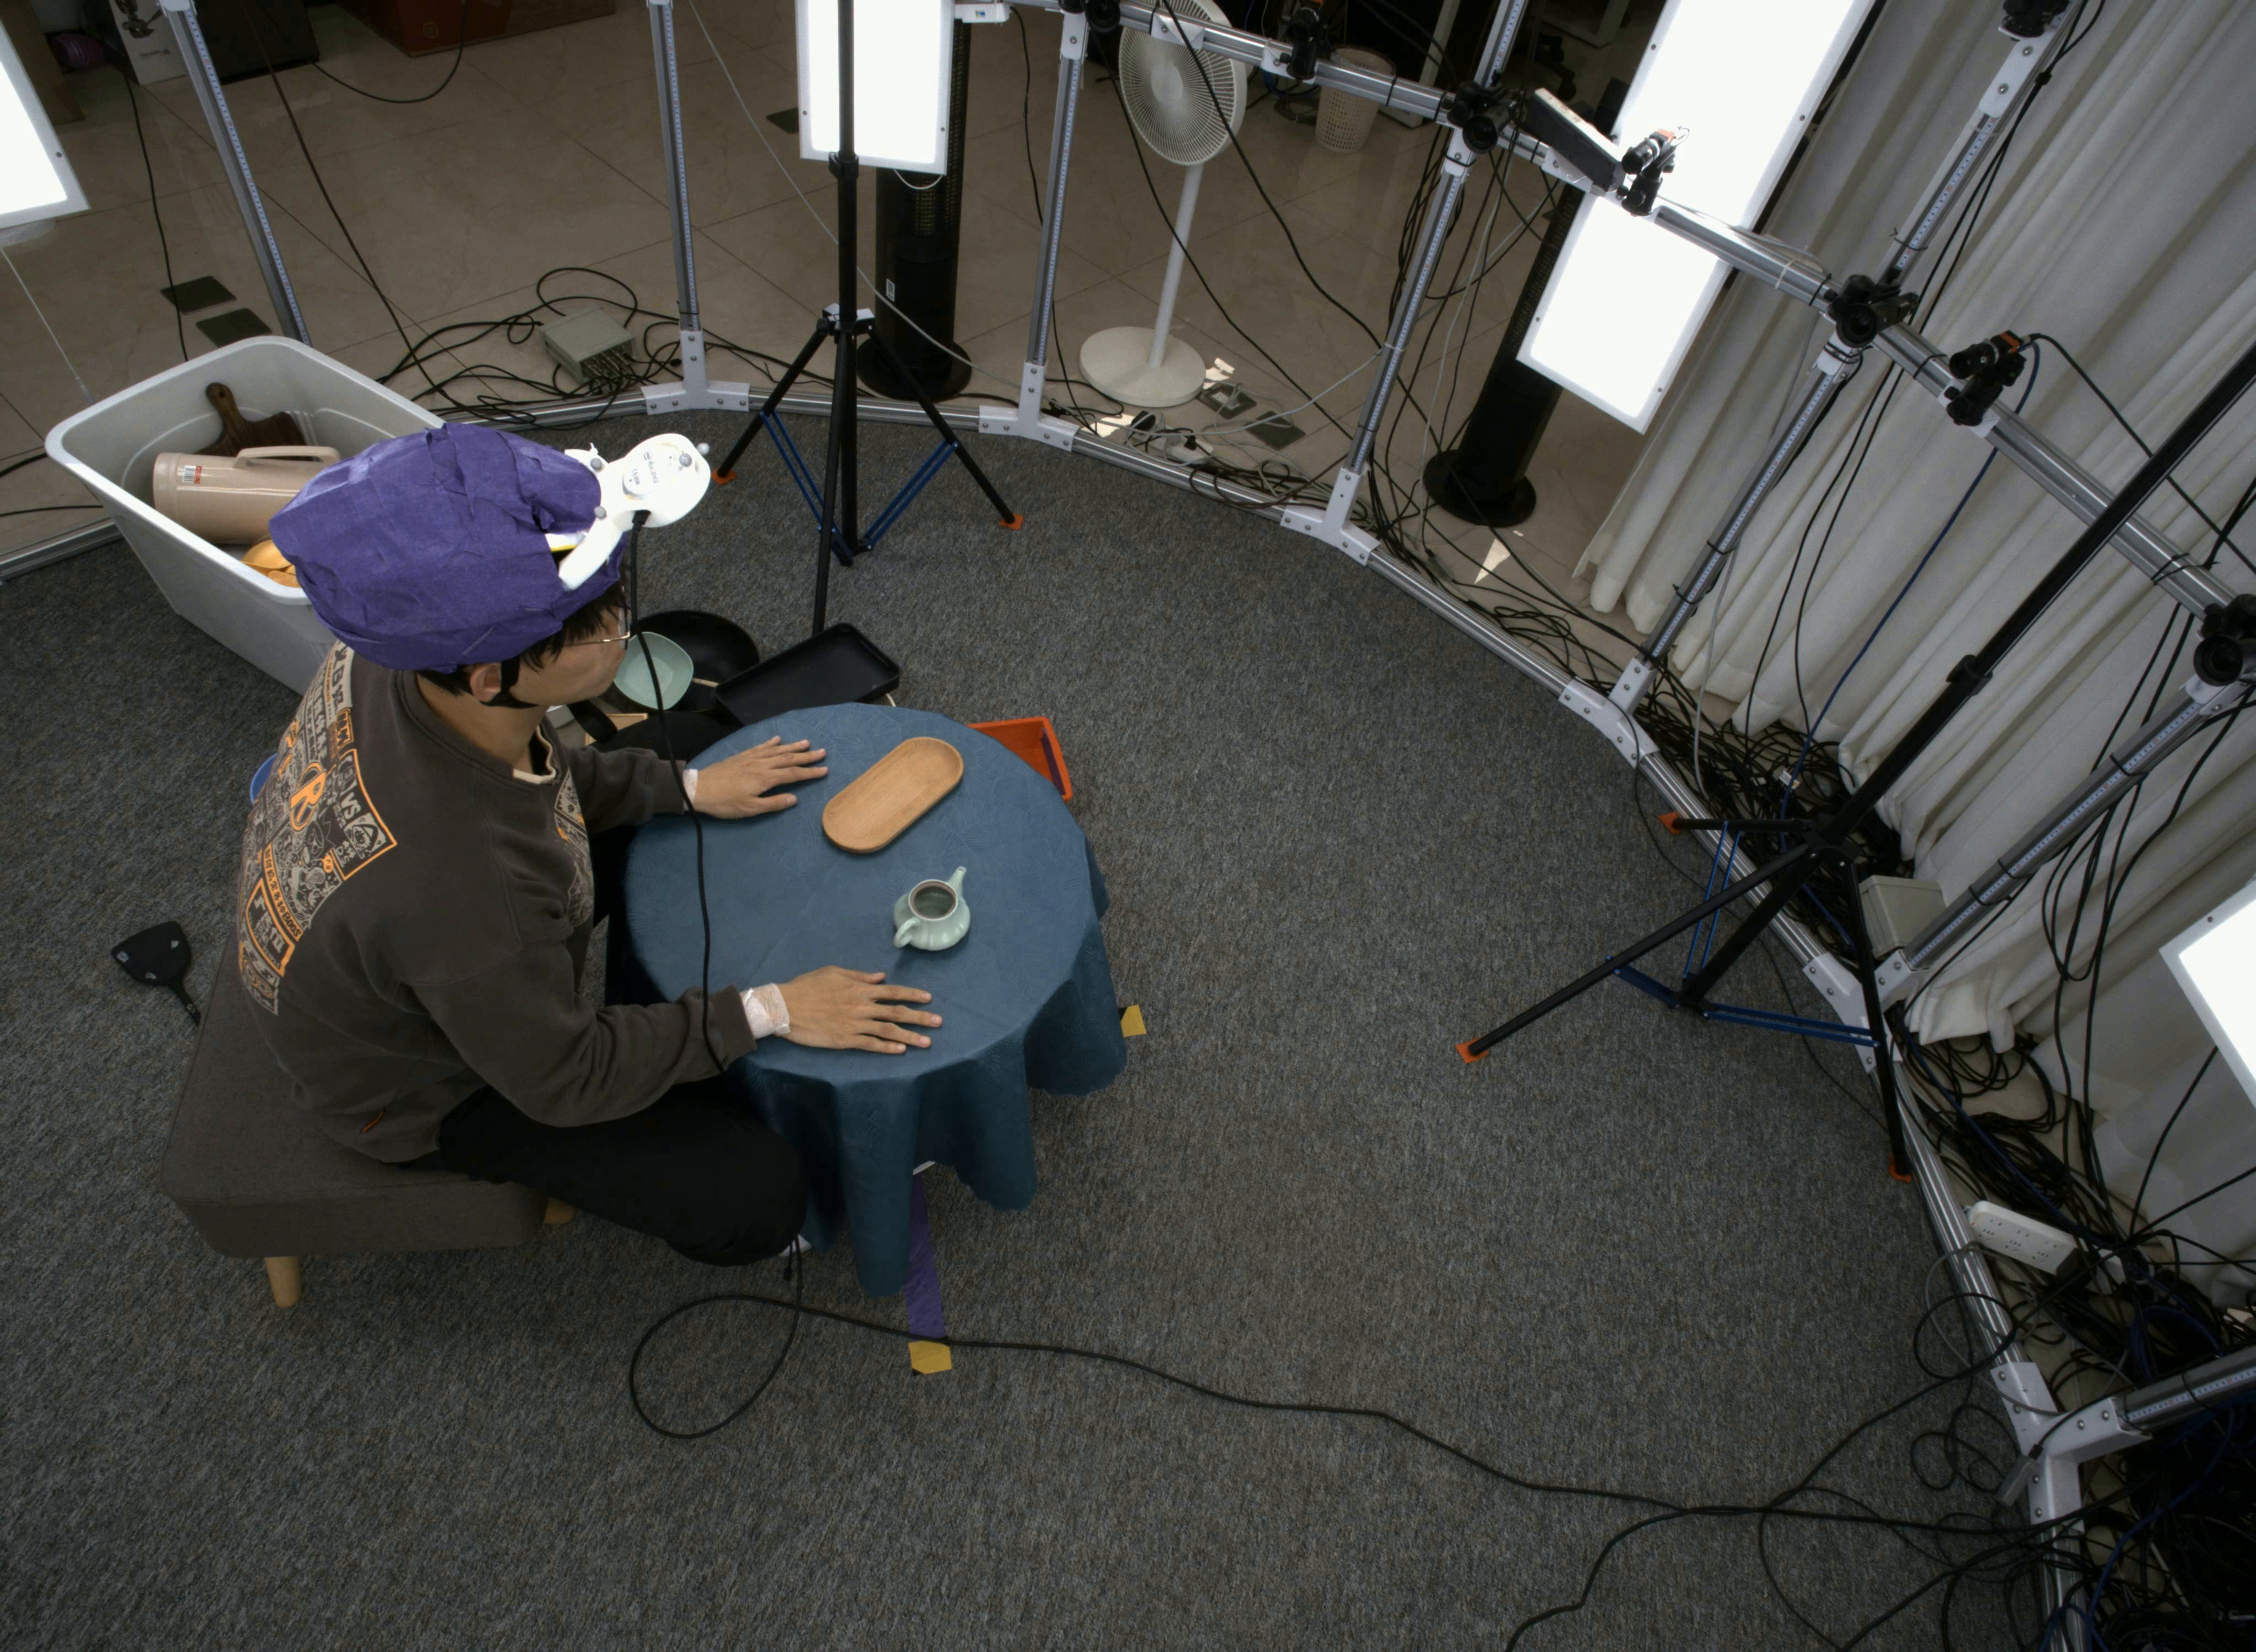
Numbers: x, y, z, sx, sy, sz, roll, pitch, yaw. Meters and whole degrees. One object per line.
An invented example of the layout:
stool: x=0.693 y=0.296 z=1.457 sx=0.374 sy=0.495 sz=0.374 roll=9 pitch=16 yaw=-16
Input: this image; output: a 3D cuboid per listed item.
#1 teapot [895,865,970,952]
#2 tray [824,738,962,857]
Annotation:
teapot: x=-0.251 y=0.111 z=1.660 sx=0.095 sy=0.062 sz=0.136 roll=31 pitch=53 yaw=9
tray: x=-0.320 y=-0.041 z=1.783 sx=0.100 sy=0.021 sz=0.231 roll=35 pitch=55 yaw=13
